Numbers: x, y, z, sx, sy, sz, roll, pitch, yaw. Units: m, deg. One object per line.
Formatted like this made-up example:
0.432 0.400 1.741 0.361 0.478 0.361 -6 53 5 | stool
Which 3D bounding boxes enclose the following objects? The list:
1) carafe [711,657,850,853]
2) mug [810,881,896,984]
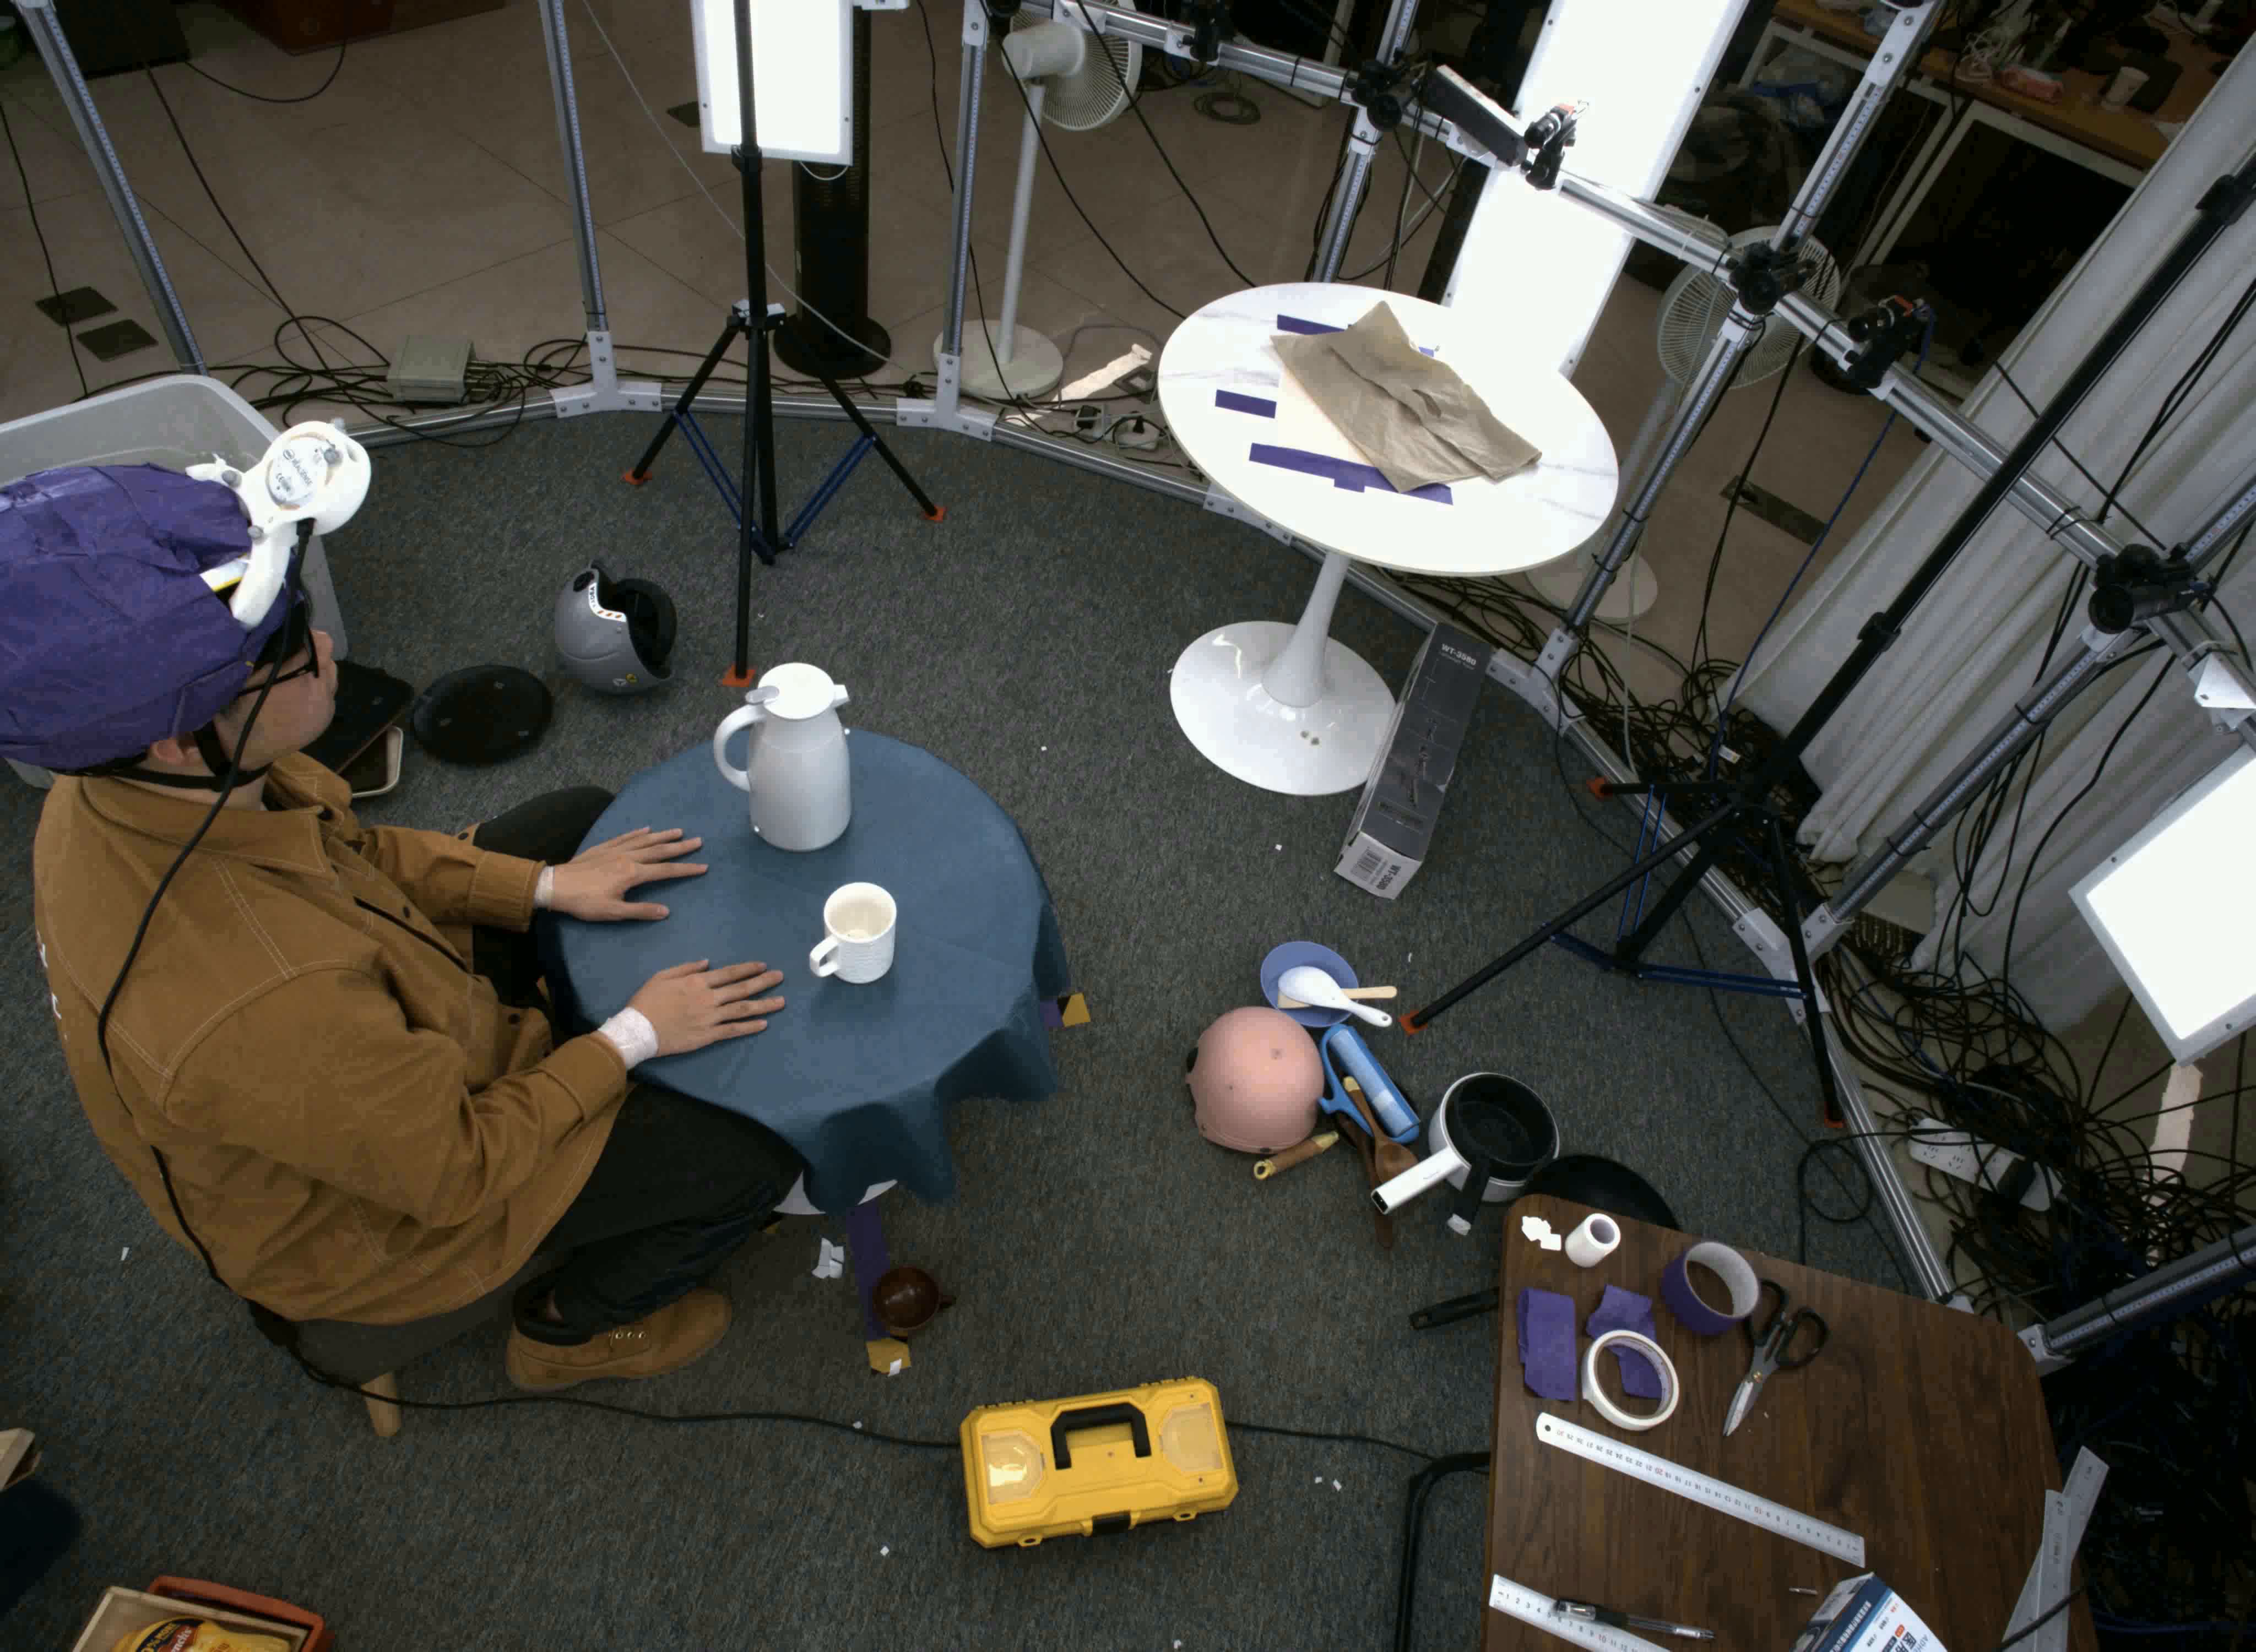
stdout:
-0.435 -0.091 1.625 0.168 0.254 0.129 -14 57 -21 | carafe
-0.336 0.139 1.573 0.083 0.104 0.118 37 54 16 | mug
